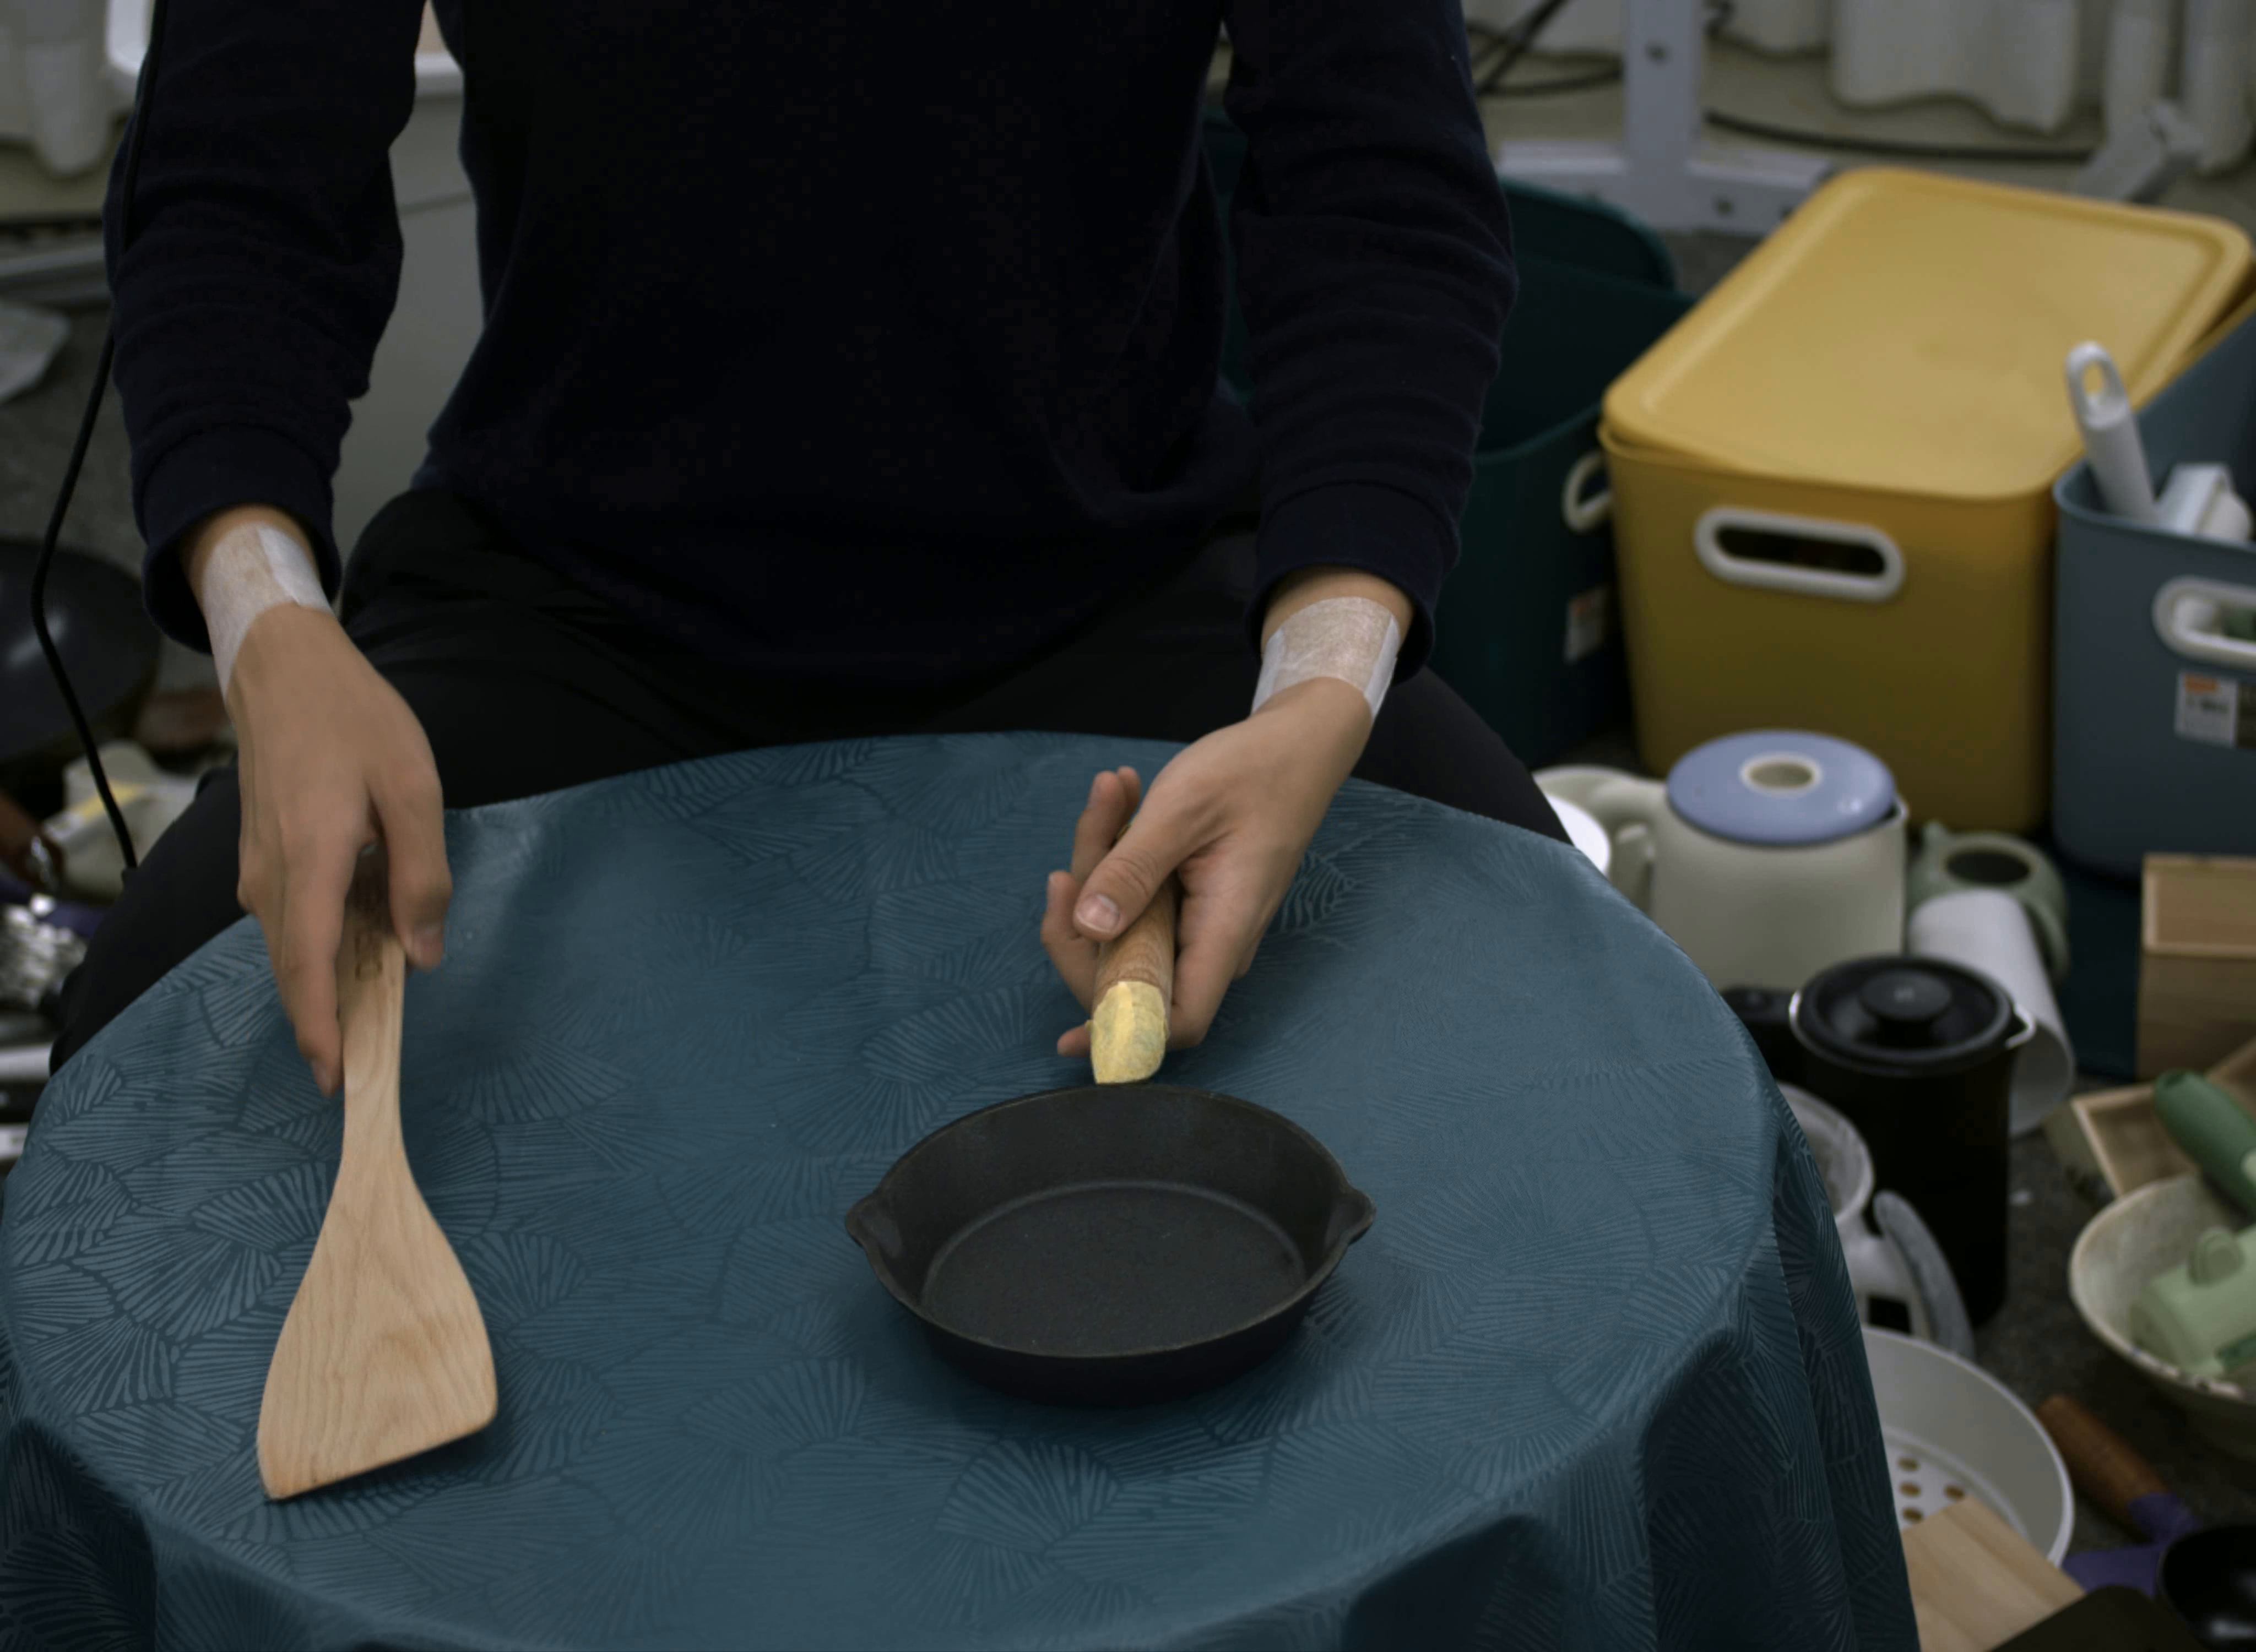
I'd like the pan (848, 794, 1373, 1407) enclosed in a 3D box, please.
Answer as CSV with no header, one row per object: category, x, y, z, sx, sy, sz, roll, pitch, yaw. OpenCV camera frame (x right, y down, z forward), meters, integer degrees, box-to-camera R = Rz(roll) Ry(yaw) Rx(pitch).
pan,0.001,0.088,1.868,0.168,0.049,0.330,0,30,5

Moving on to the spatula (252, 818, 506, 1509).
spatula,-0.248,0.102,1.846,0.079,0.016,0.333,-10,41,0
